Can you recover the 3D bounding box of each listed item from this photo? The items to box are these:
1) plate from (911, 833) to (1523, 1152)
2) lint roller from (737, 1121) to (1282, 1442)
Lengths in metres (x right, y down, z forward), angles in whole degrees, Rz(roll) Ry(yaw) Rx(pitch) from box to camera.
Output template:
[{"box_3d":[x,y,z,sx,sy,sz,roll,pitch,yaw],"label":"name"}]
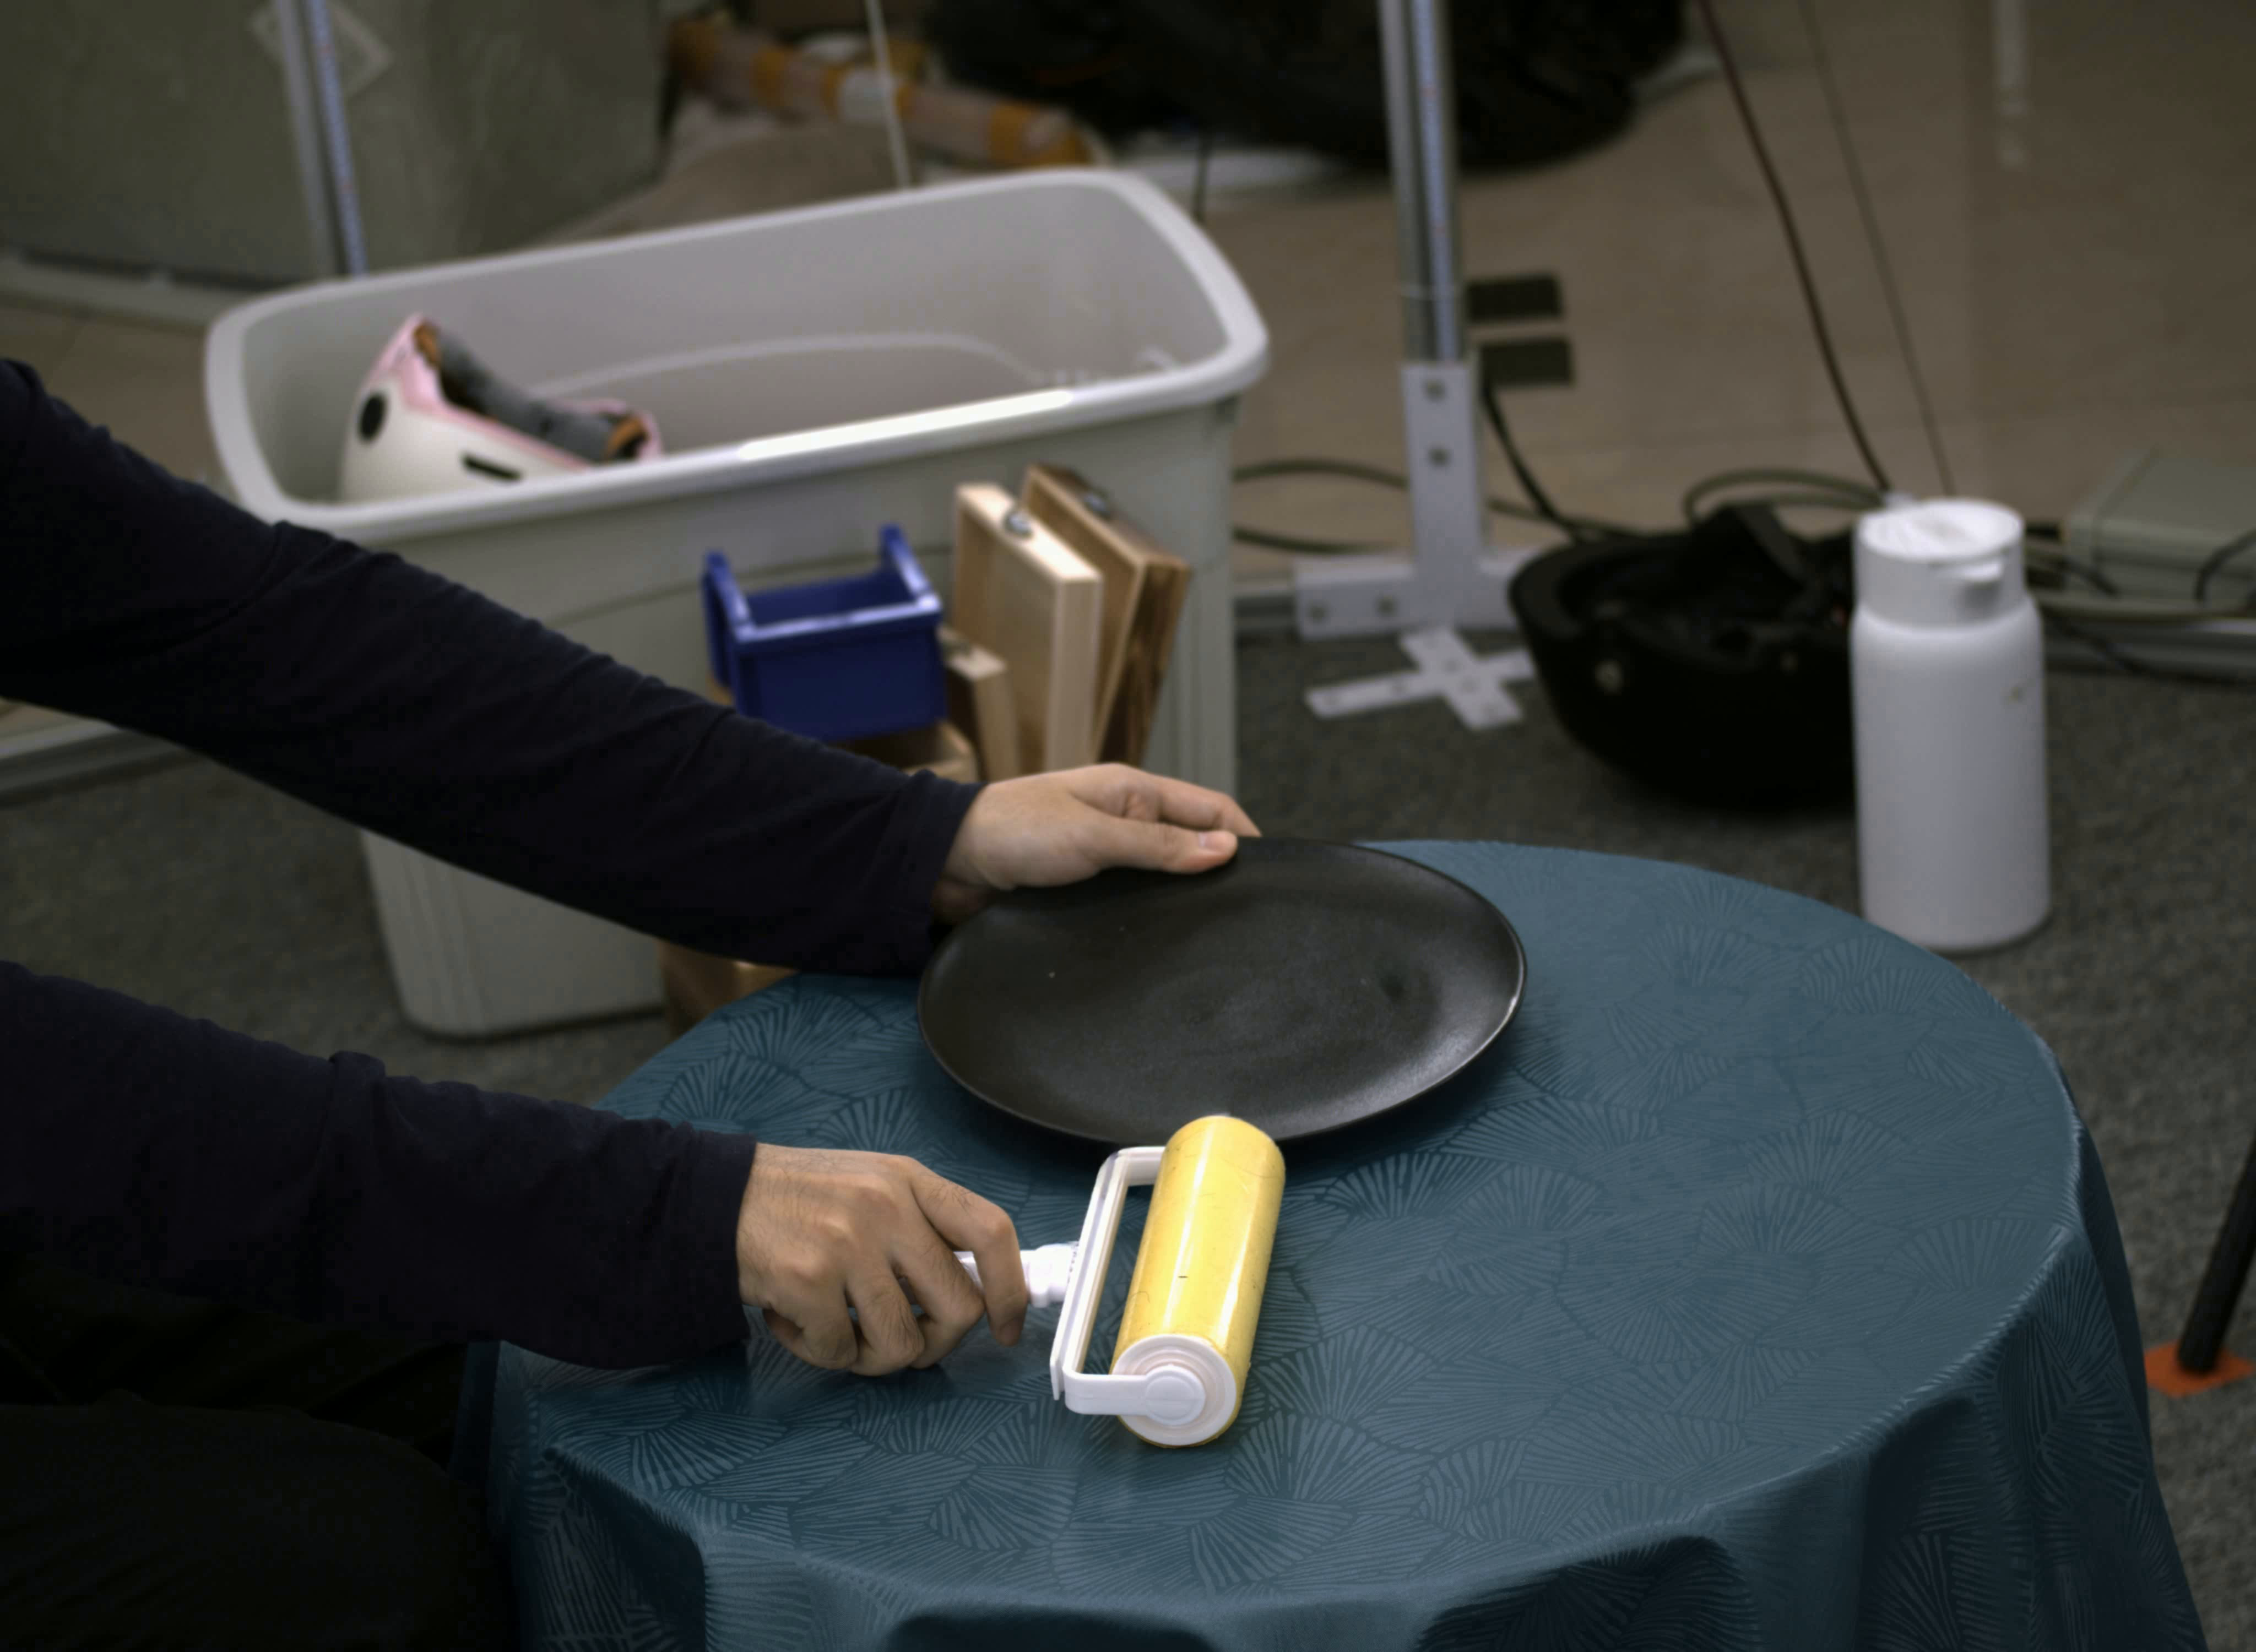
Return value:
[{"box_3d":[0.035,0.070,2.246,0.244,0.024,0.240,-3,29,2],"label":"plate"},{"box_3d":[-0.045,0.157,2.042,0.191,0.052,0.172,6,25,3],"label":"lint roller"}]
